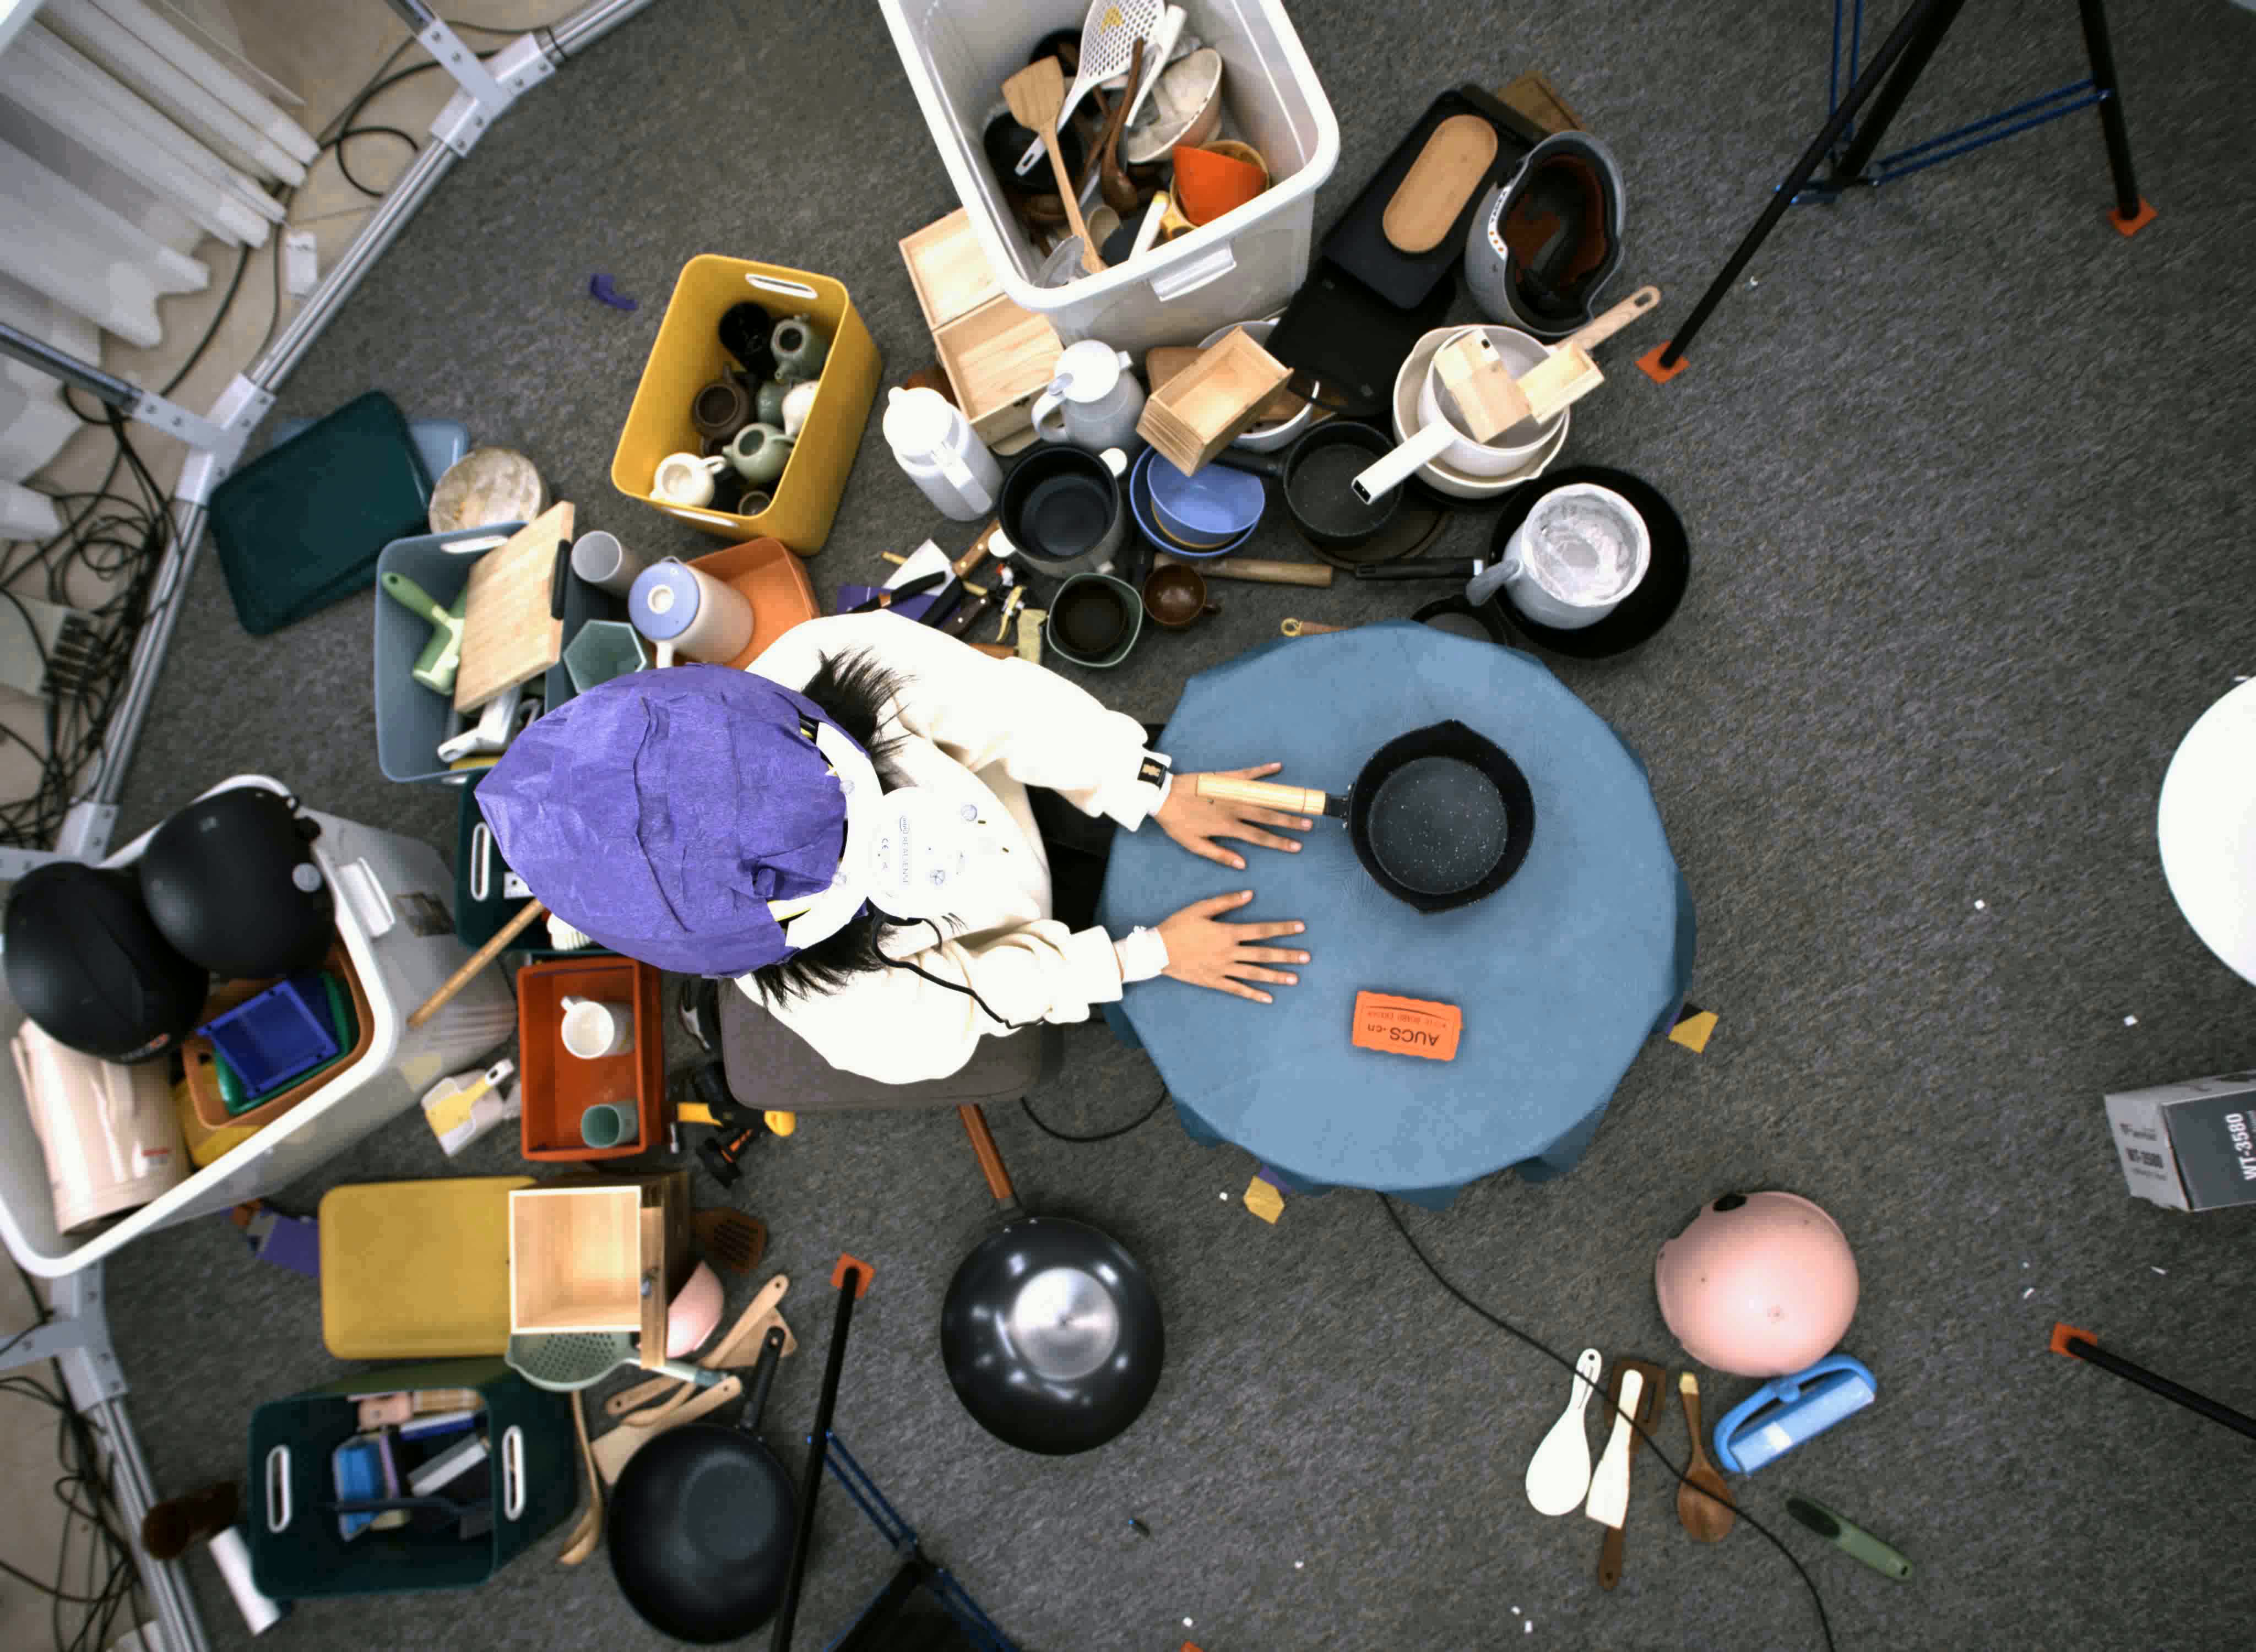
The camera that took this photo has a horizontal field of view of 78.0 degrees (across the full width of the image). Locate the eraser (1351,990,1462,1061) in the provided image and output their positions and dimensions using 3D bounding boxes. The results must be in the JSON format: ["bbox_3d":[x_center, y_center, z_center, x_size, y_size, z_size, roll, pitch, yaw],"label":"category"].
[{"bbox_3d":[0.289,0.205,1.437,0.108,0.023,0.059,9,88,11],"label":"eraser"}]

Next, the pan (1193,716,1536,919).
[{"bbox_3d":[0.239,-0.016,1.416,0.344,0.108,0.207,6,88,9],"label":"pan"}]
